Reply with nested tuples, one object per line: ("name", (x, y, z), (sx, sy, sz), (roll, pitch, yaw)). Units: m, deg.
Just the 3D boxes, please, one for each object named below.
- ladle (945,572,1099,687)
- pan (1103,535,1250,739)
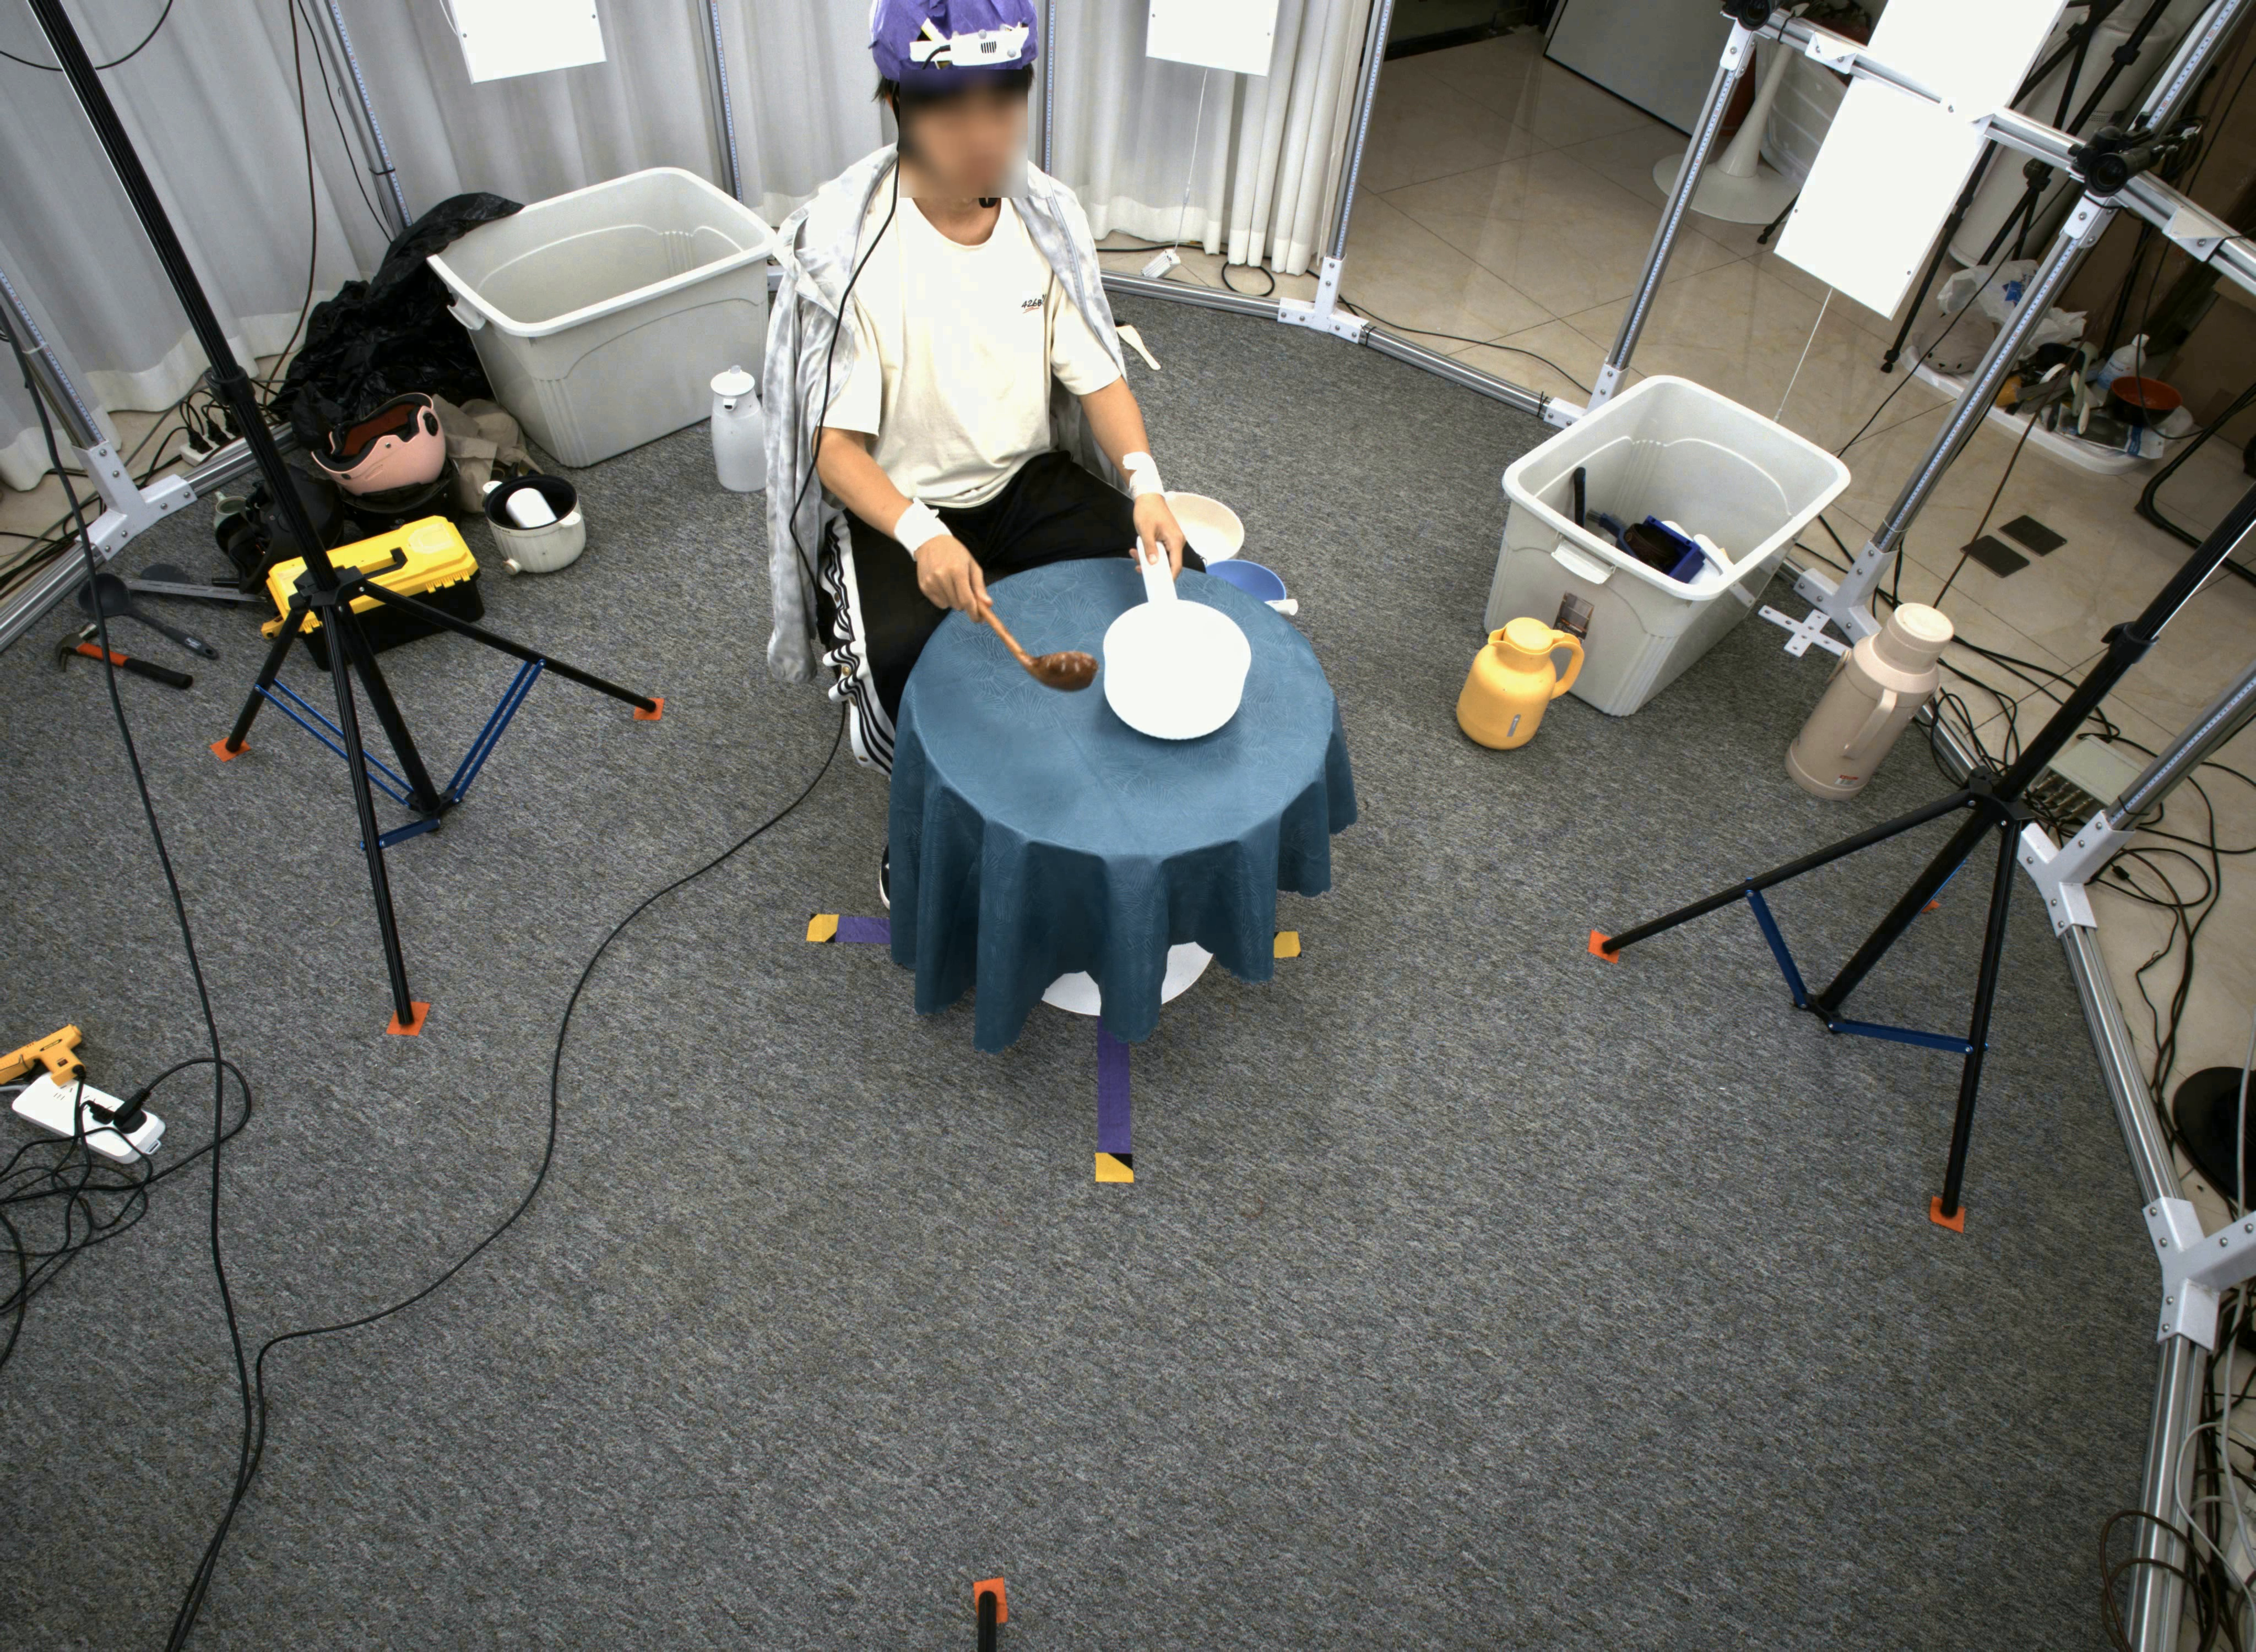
("ladle", (-0.140, -0.275, 1.695), (0.077, 0.080, 0.279), (-38, 59, -7))
("pan", (0.054, -0.271, 1.838), (0.201, 0.099, 0.364), (-4, 48, -6))
